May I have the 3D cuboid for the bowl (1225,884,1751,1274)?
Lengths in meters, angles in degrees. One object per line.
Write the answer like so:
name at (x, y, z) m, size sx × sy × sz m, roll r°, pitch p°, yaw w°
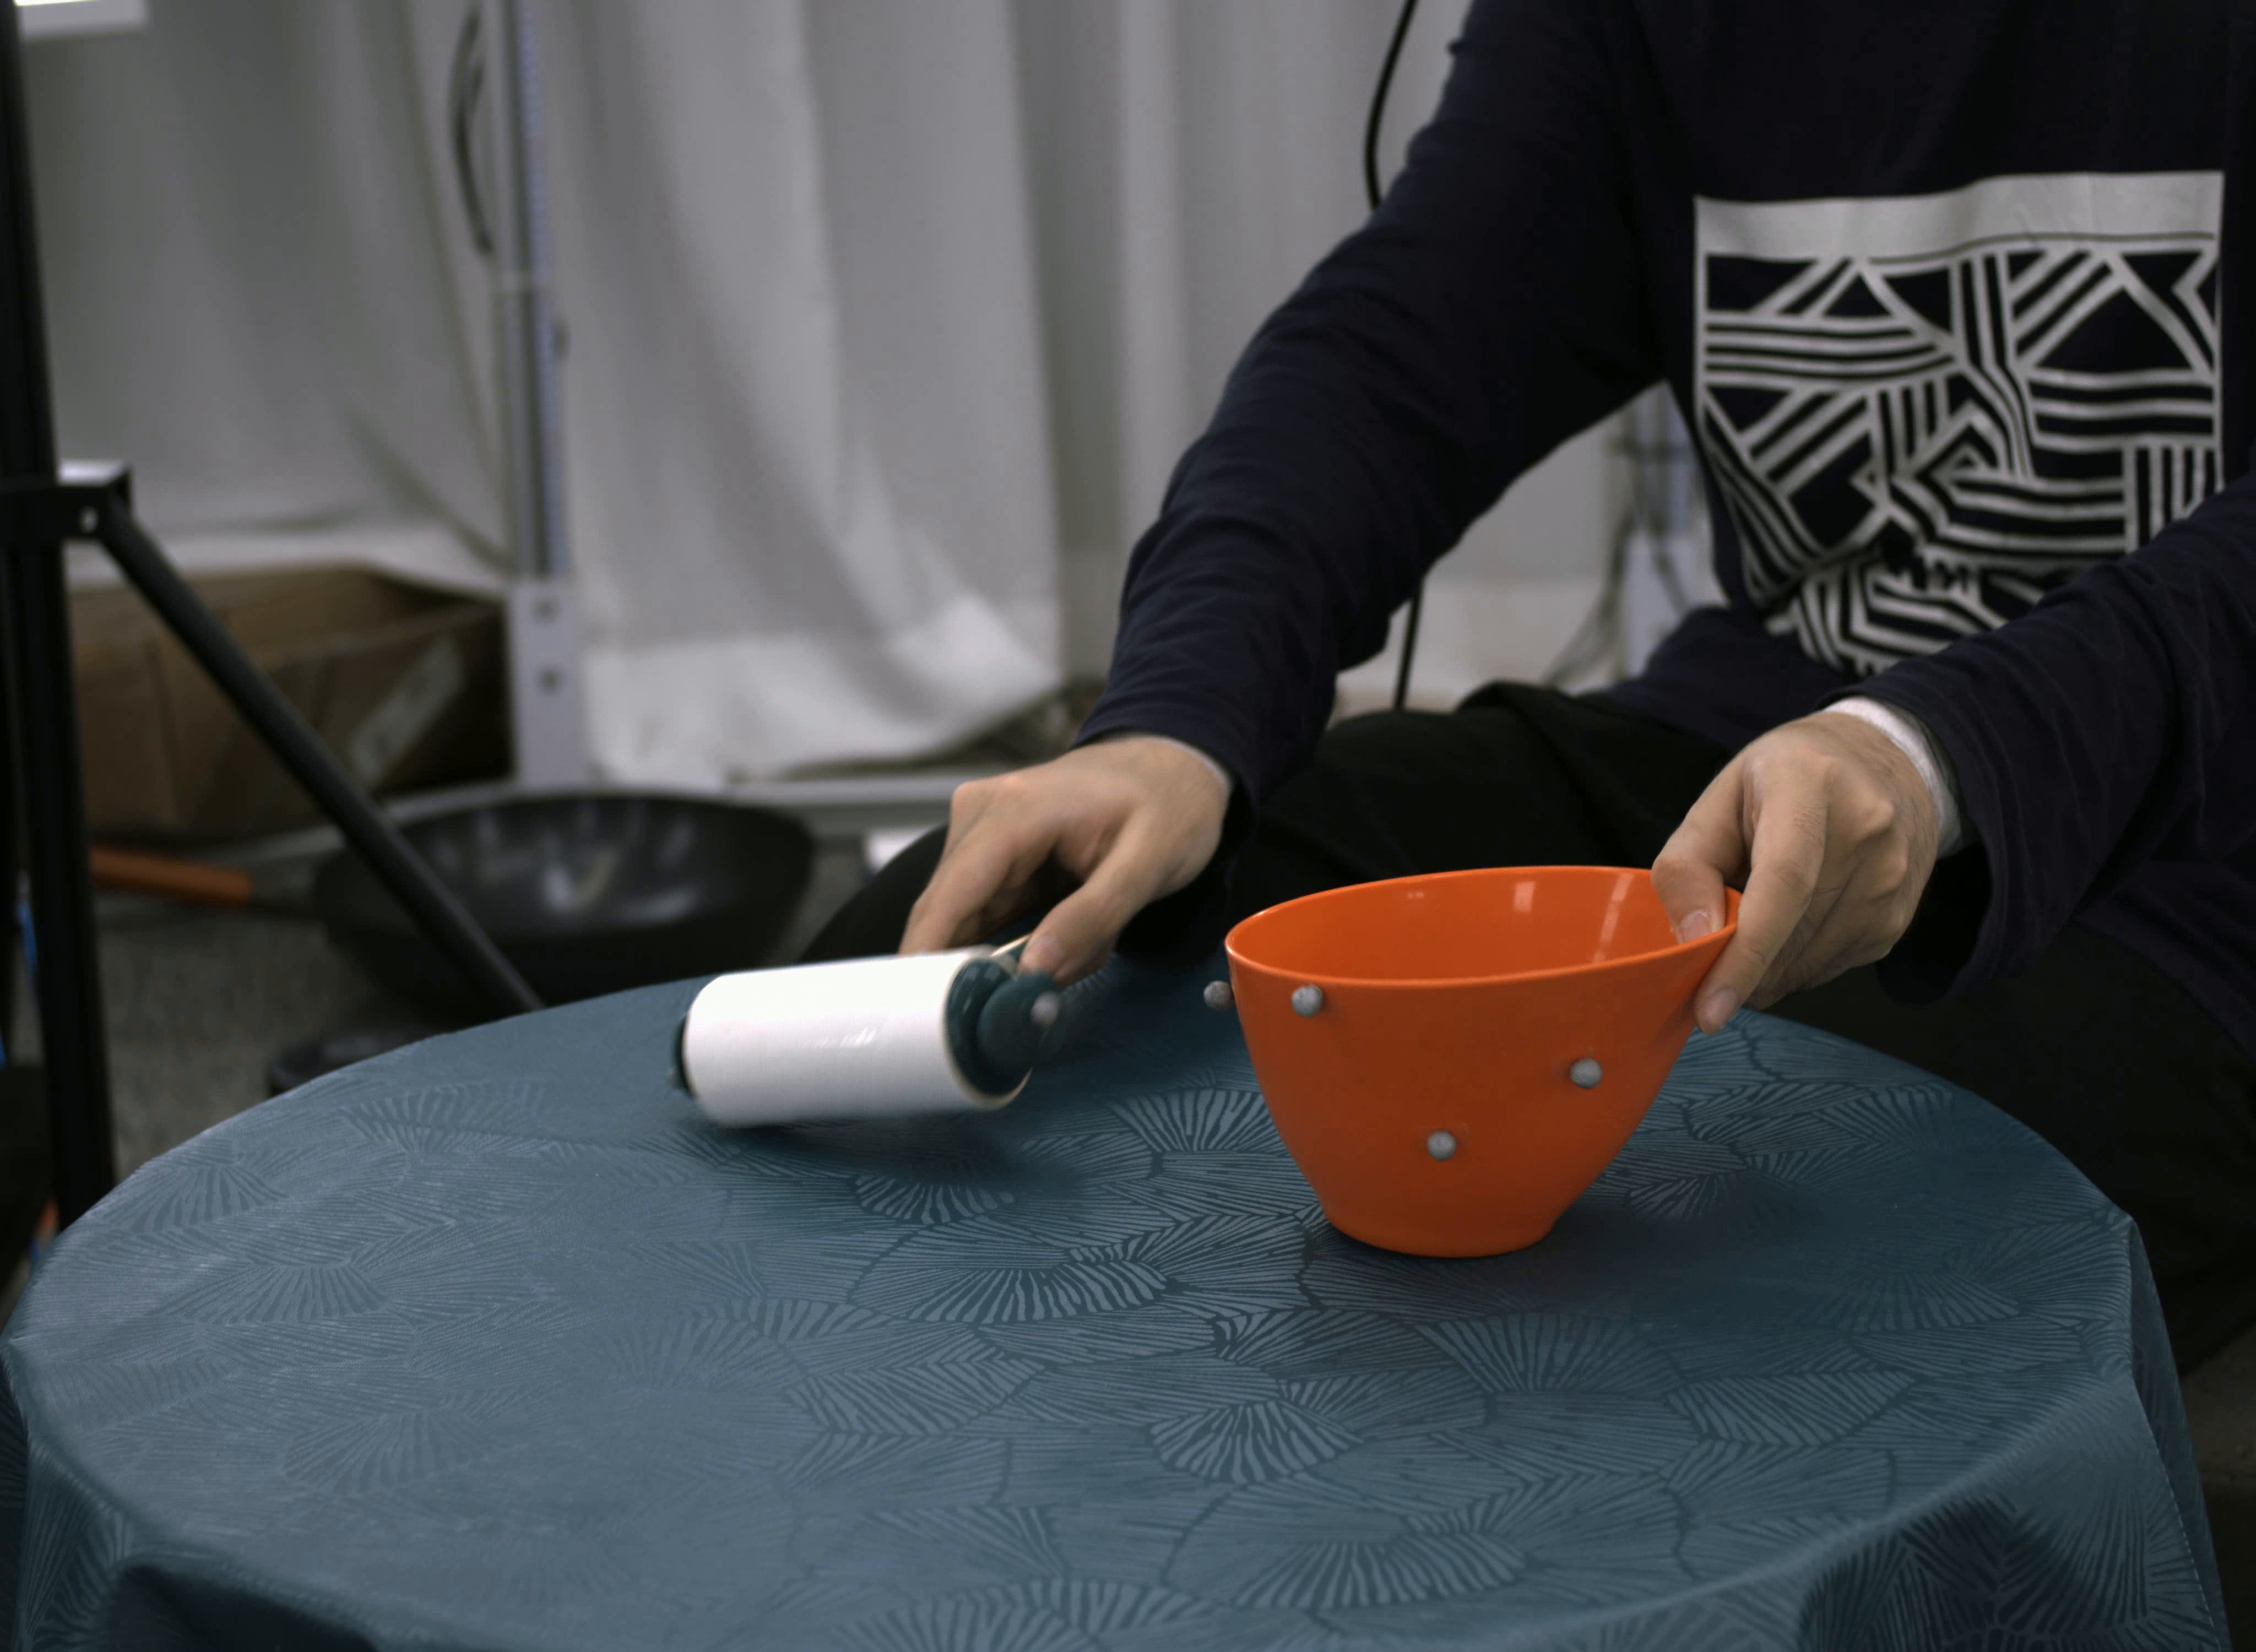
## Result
bowl at (0.098, 0.071, 1.503) m, size 0.147 × 0.105 × 0.149 m, roll 3°, pitch 16°, yaw -2°

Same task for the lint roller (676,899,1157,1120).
lint roller at (-0.046, 0.038, 1.656) m, size 0.137 × 0.048 × 0.177 m, roll -8°, pitch 16°, yaw 36°
